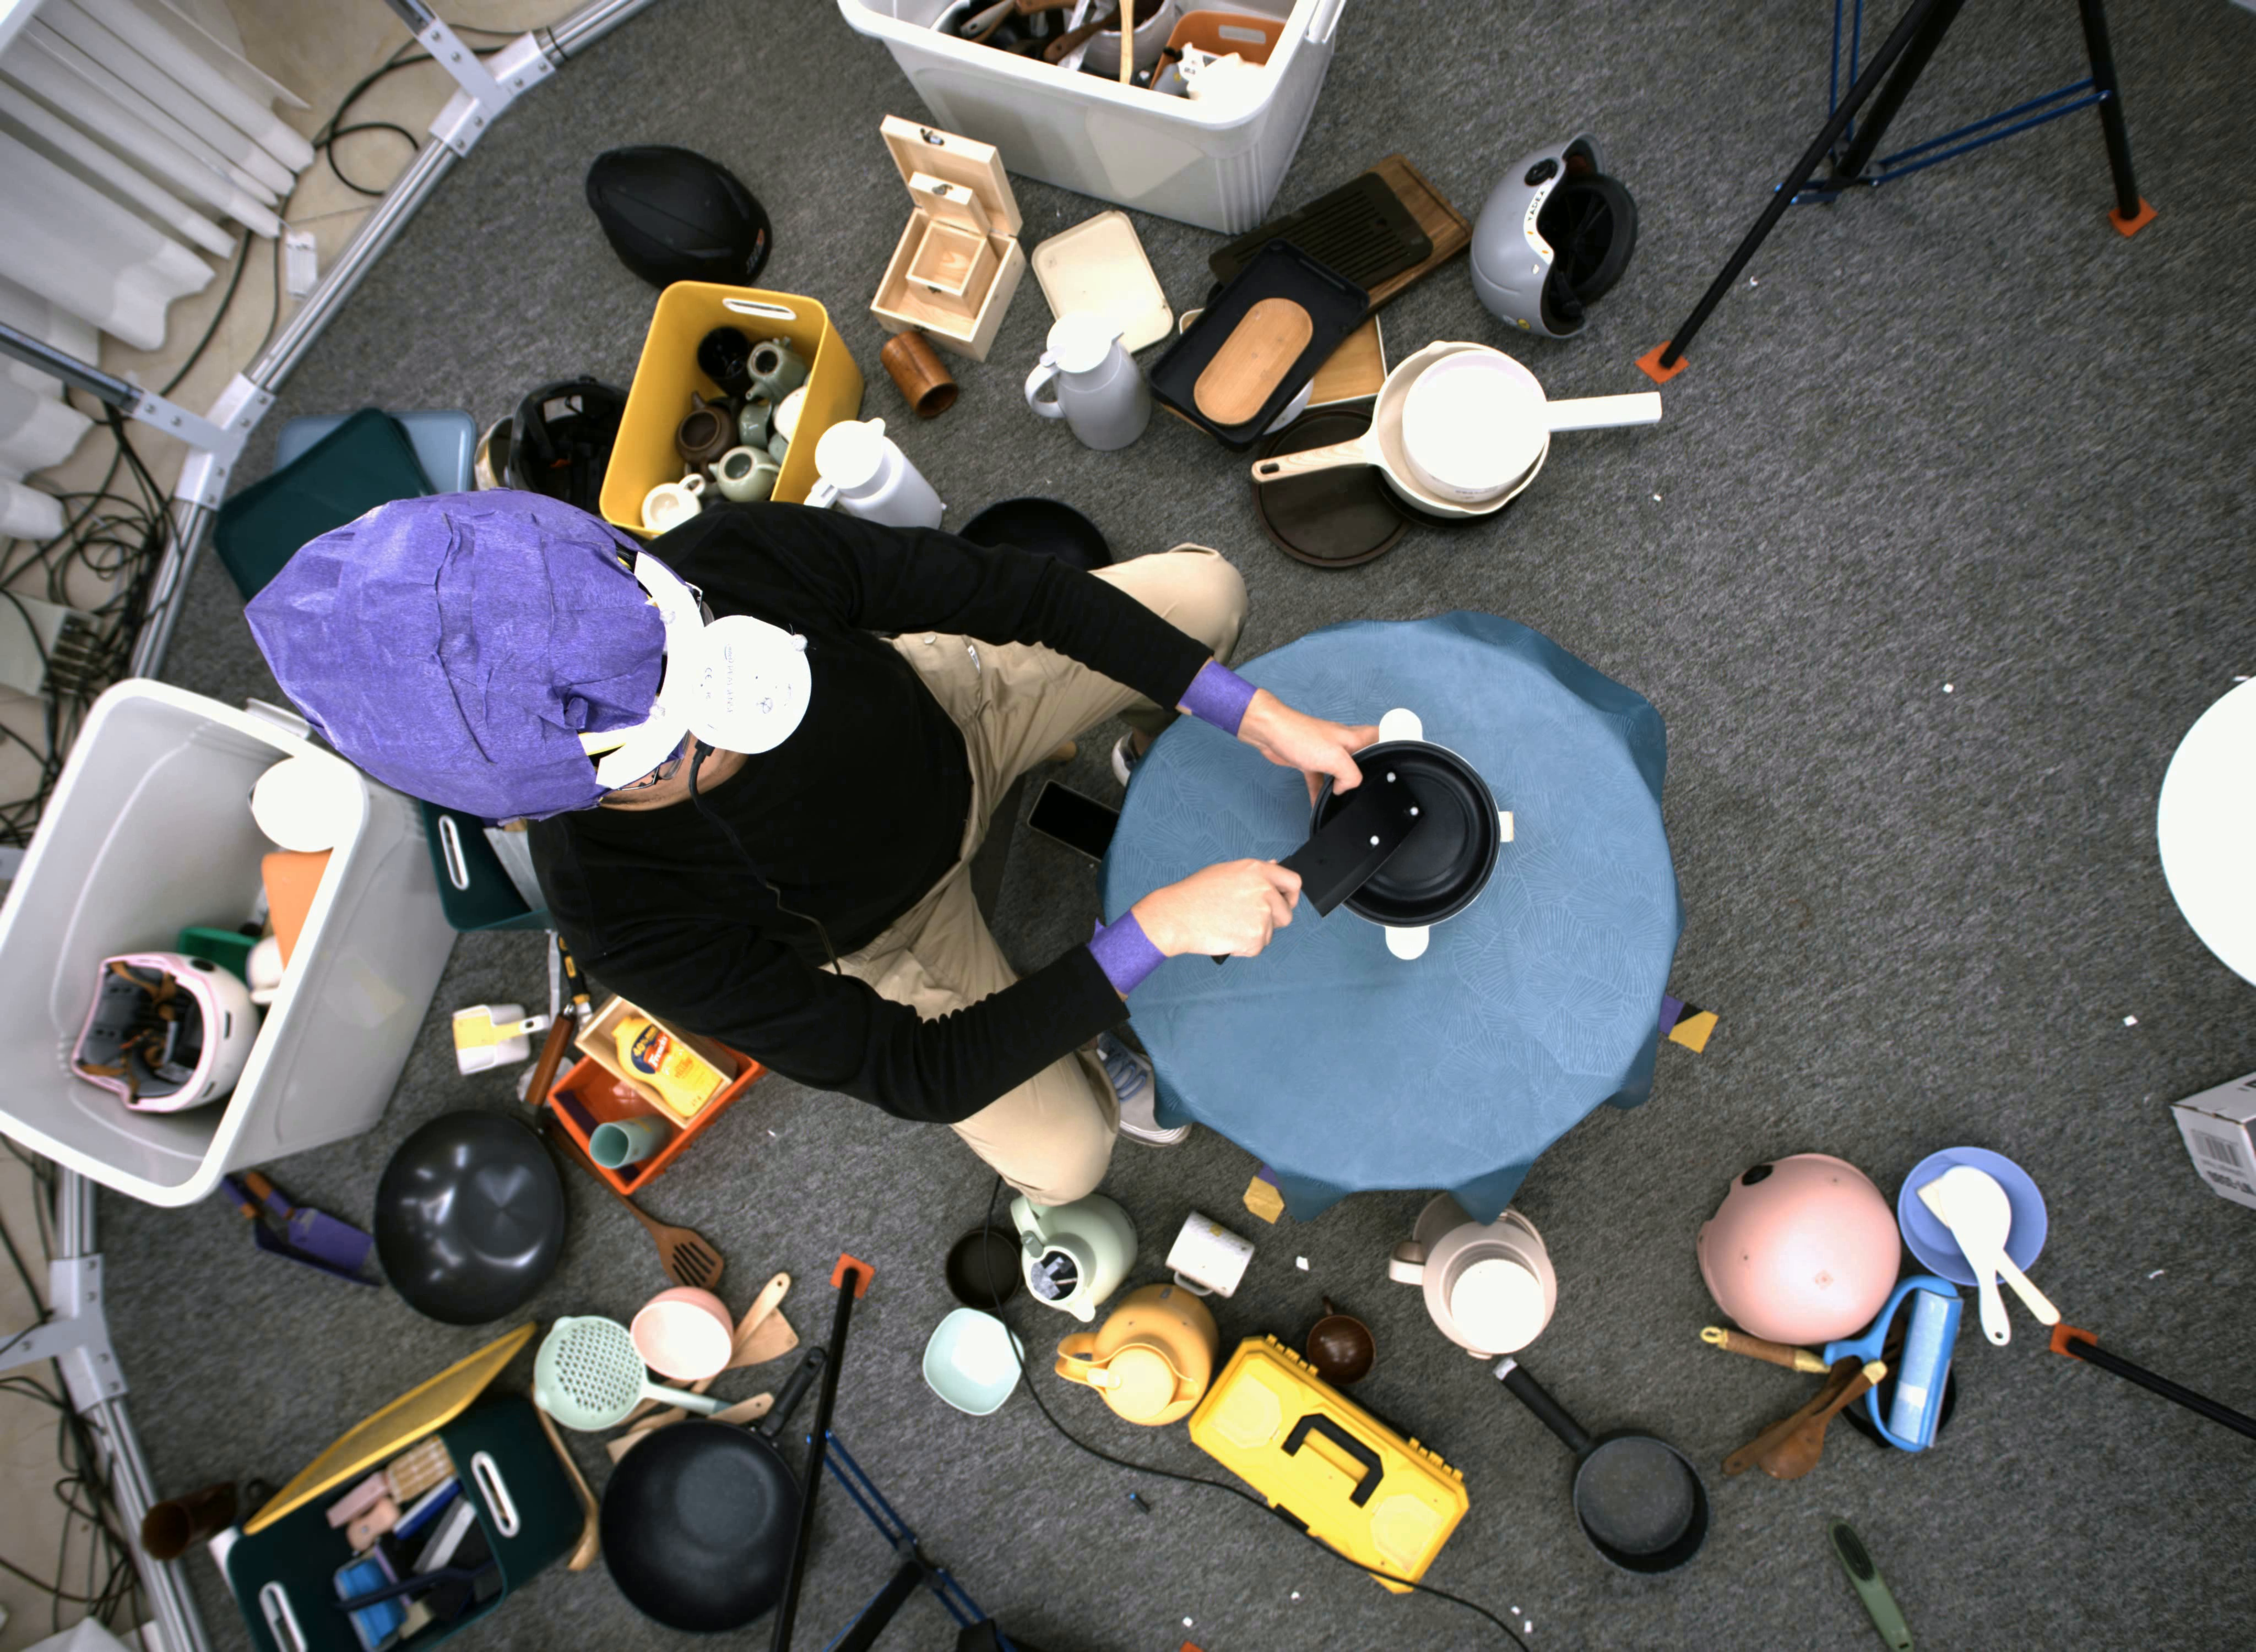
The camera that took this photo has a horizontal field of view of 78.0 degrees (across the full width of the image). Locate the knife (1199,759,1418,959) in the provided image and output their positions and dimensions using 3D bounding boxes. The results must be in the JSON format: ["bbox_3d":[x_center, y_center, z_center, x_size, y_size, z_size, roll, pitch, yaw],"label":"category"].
[{"bbox_3d":[0.174,0.034,1.306,0.297,0.021,0.081,-35,94,-29],"label":"knife"}]

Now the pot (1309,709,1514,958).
[{"bbox_3d":[0.287,0.002,1.381,0.192,0.141,0.241,-2,95,20],"label":"pot"}]
